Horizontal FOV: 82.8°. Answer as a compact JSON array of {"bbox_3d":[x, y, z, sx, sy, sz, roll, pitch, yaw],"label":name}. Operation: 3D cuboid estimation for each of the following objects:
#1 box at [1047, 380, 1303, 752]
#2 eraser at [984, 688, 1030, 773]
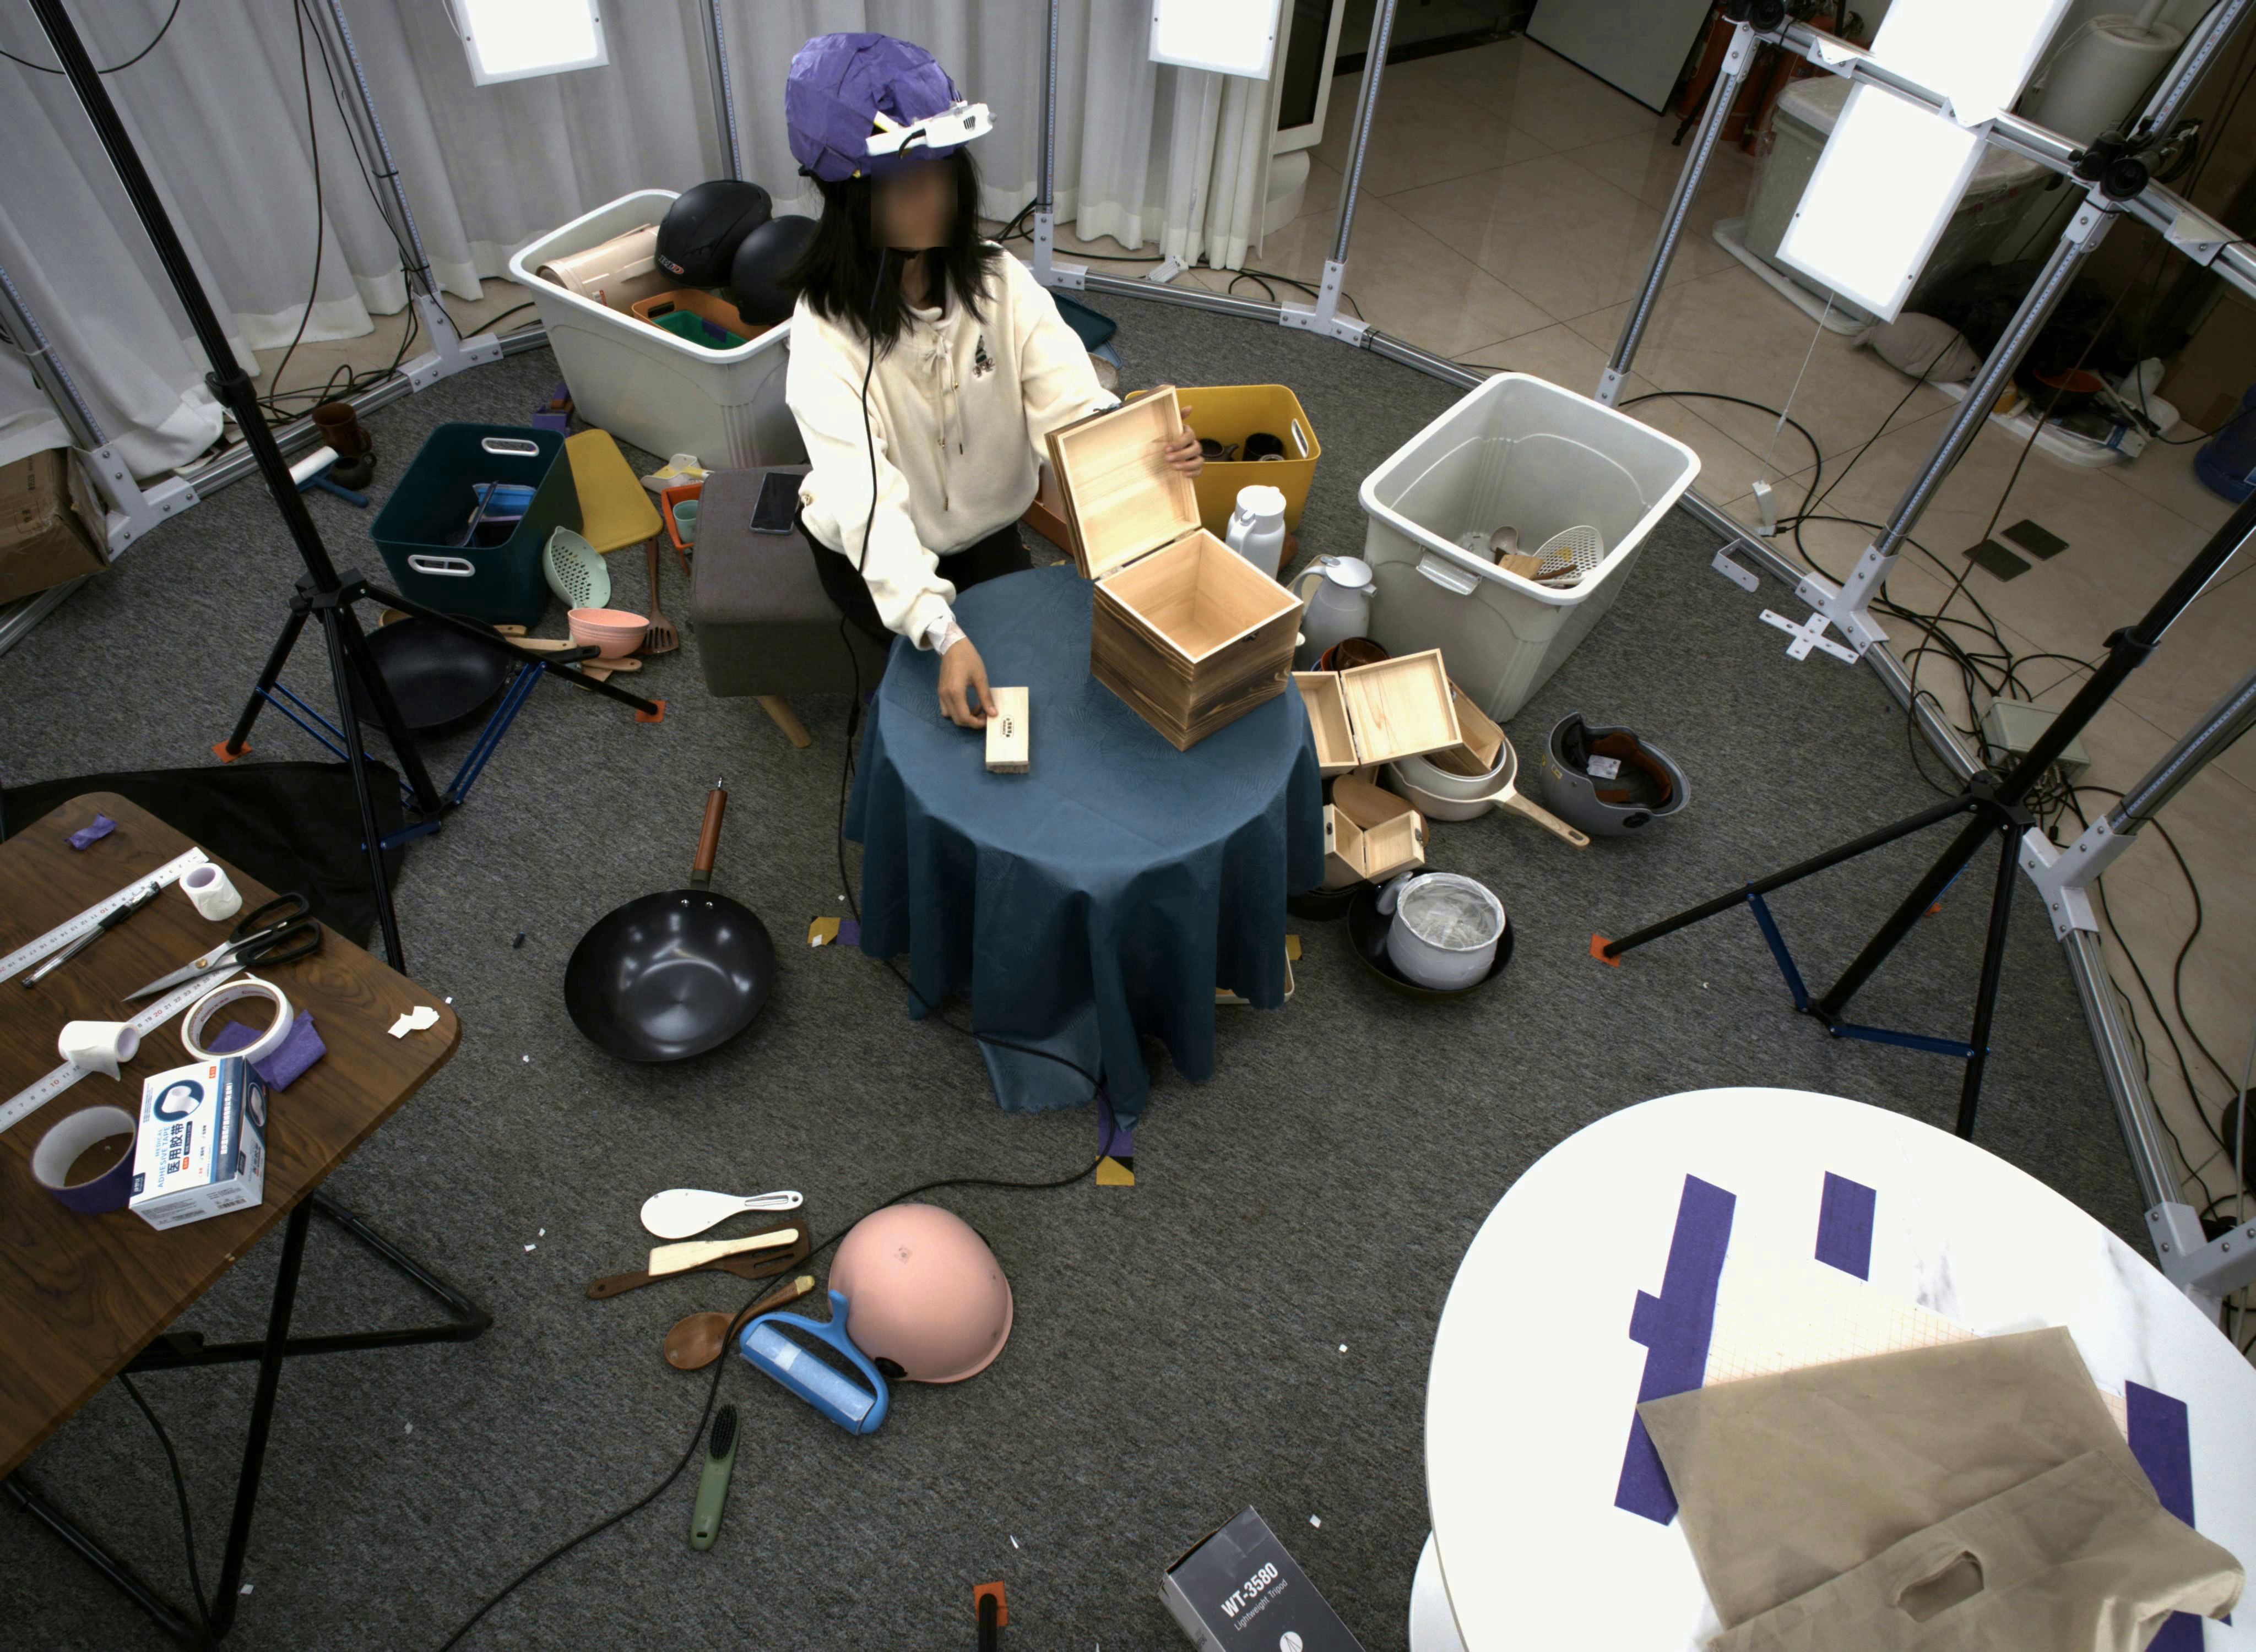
[{"bbox_3d":[0.061,-0.353,1.746,0.210,0.366,0.327,-32,59,-26],"label":"box"},{"bbox_3d":[-0.165,-0.132,1.755,0.057,0.028,0.143,-1,49,-1],"label":"eraser"}]
